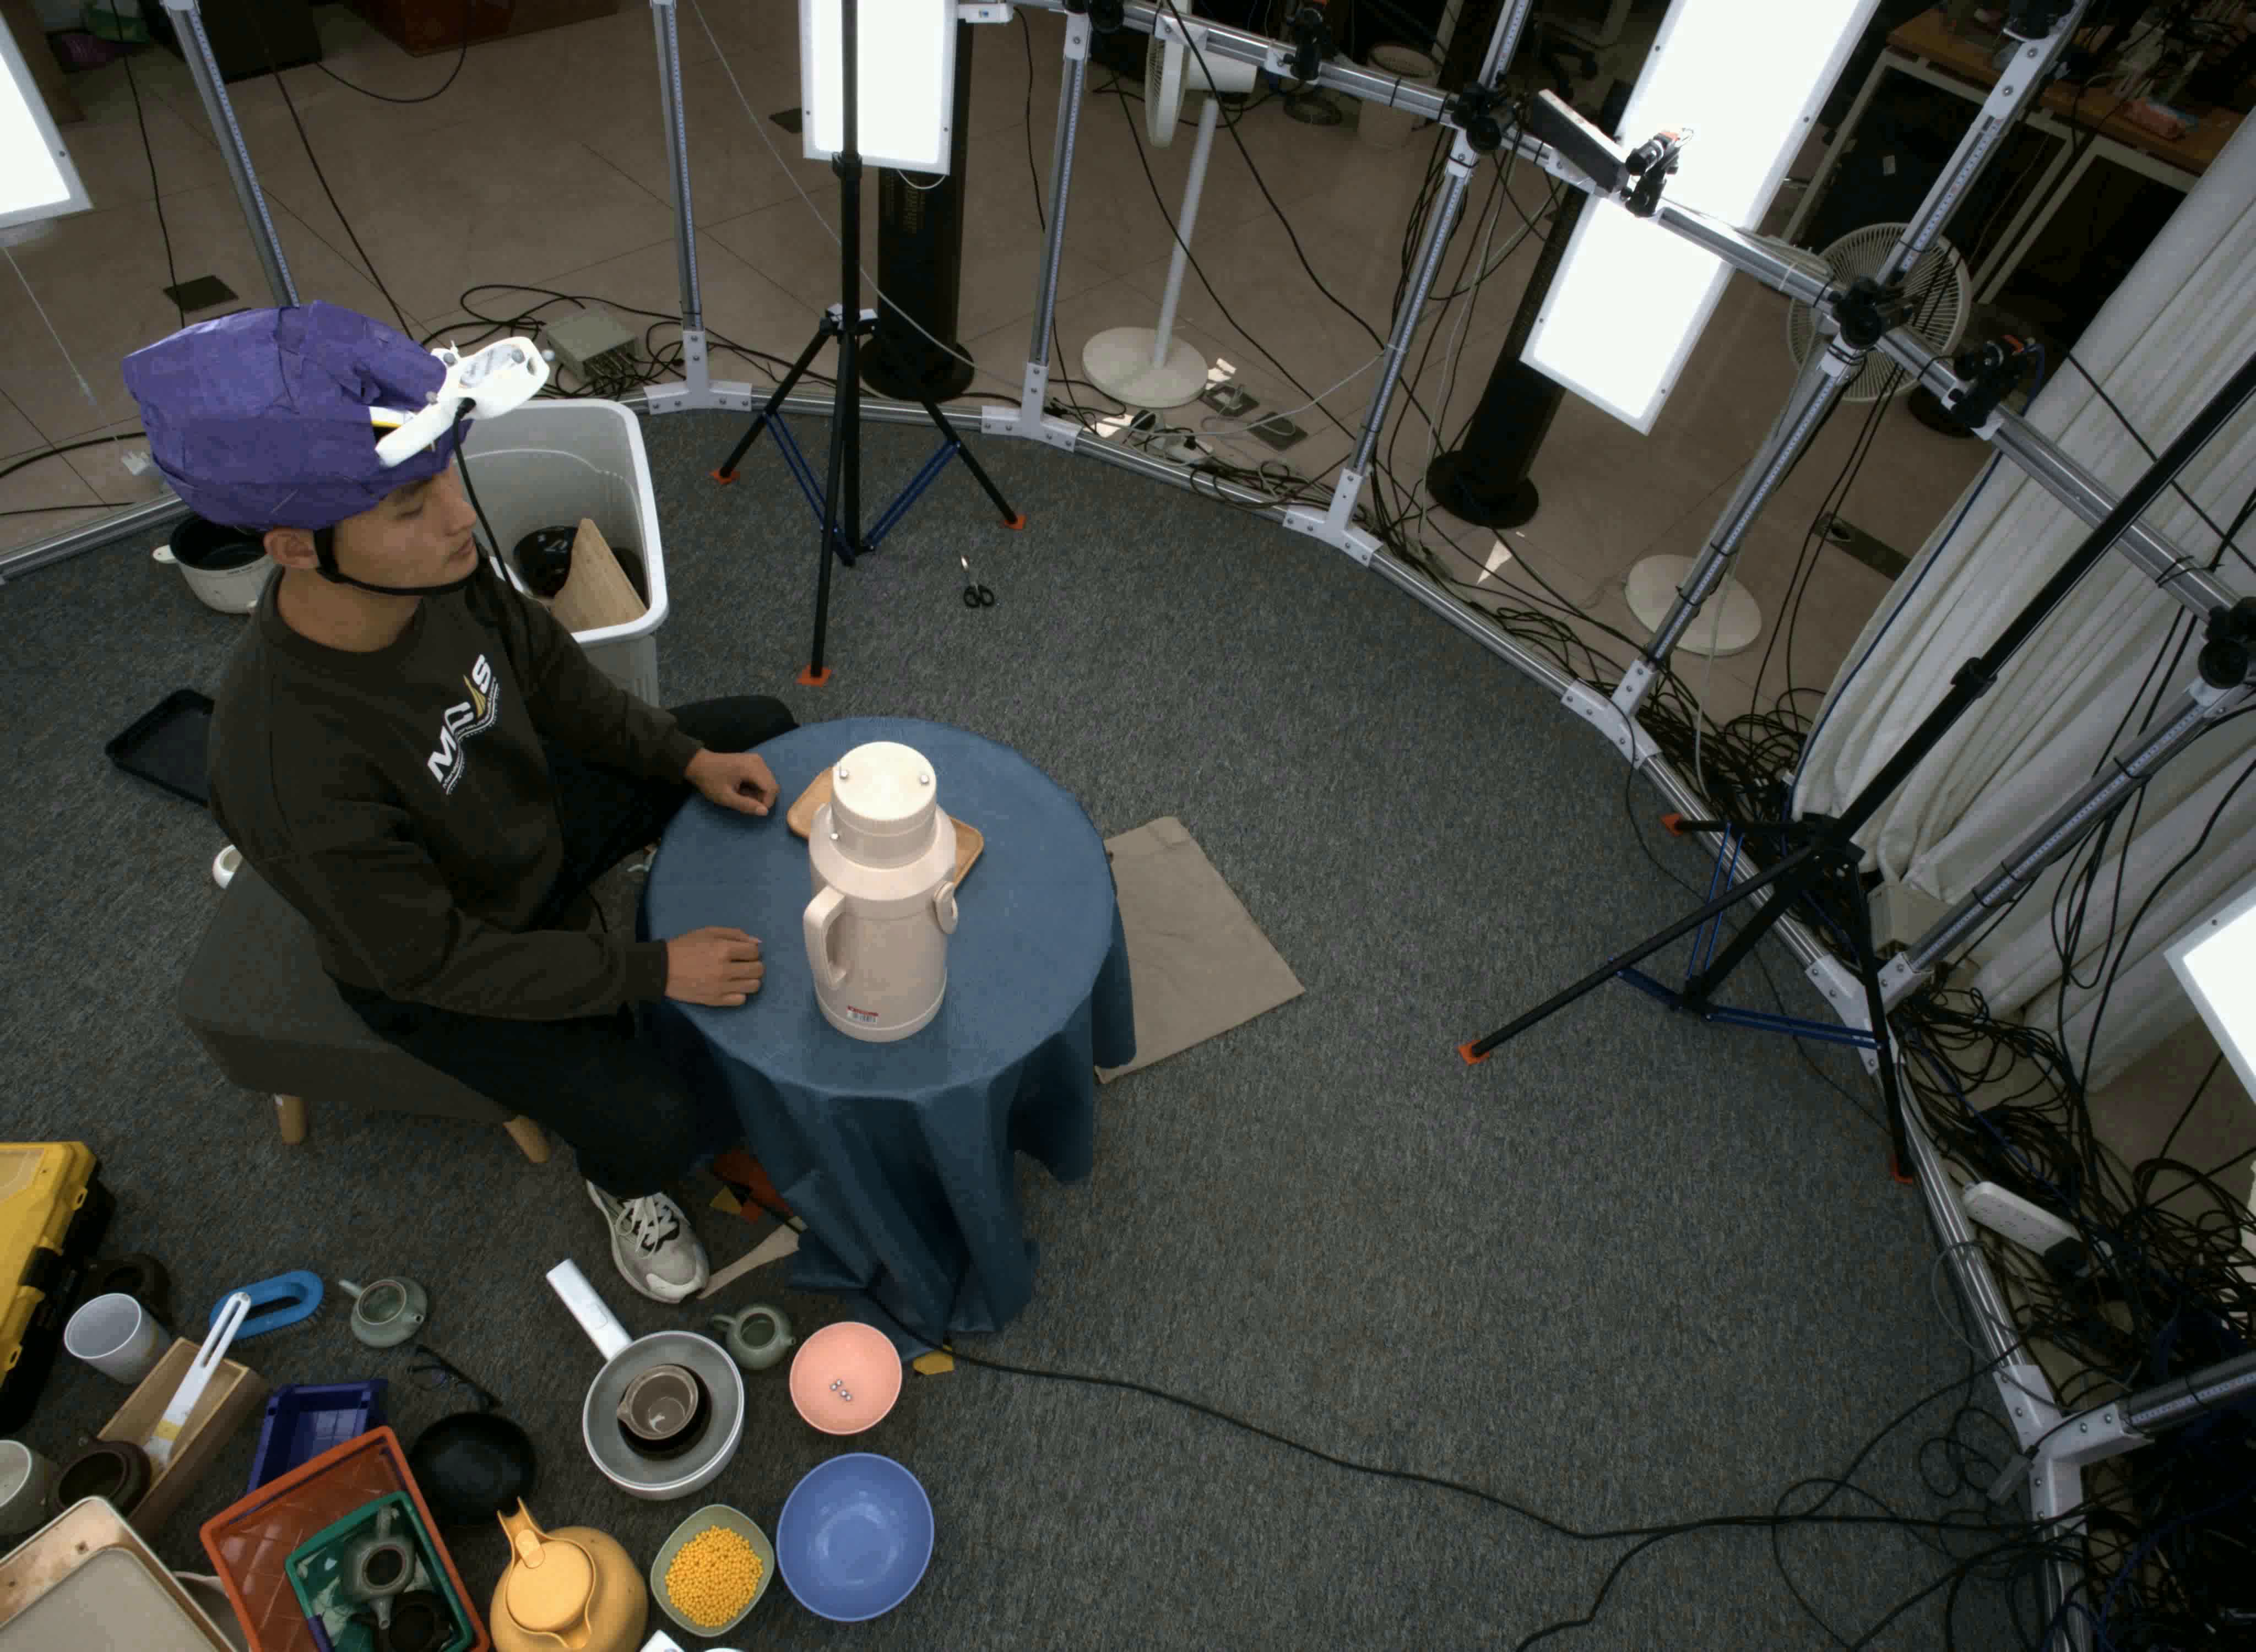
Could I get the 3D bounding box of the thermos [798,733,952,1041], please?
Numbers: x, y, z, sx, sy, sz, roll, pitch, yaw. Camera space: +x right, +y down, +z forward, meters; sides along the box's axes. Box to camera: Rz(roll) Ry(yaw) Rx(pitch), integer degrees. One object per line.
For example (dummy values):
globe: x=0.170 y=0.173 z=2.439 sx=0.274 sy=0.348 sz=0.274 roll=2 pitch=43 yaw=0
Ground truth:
thermos: x=-0.289 y=0.080 z=1.452 sx=0.172 sy=0.415 sz=0.206 roll=30 pitch=53 yaw=12

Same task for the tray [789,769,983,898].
tray: x=-0.323 y=0.007 z=1.744 sx=0.247 sy=0.023 sz=0.130 roll=25 pitch=50 yaw=7
